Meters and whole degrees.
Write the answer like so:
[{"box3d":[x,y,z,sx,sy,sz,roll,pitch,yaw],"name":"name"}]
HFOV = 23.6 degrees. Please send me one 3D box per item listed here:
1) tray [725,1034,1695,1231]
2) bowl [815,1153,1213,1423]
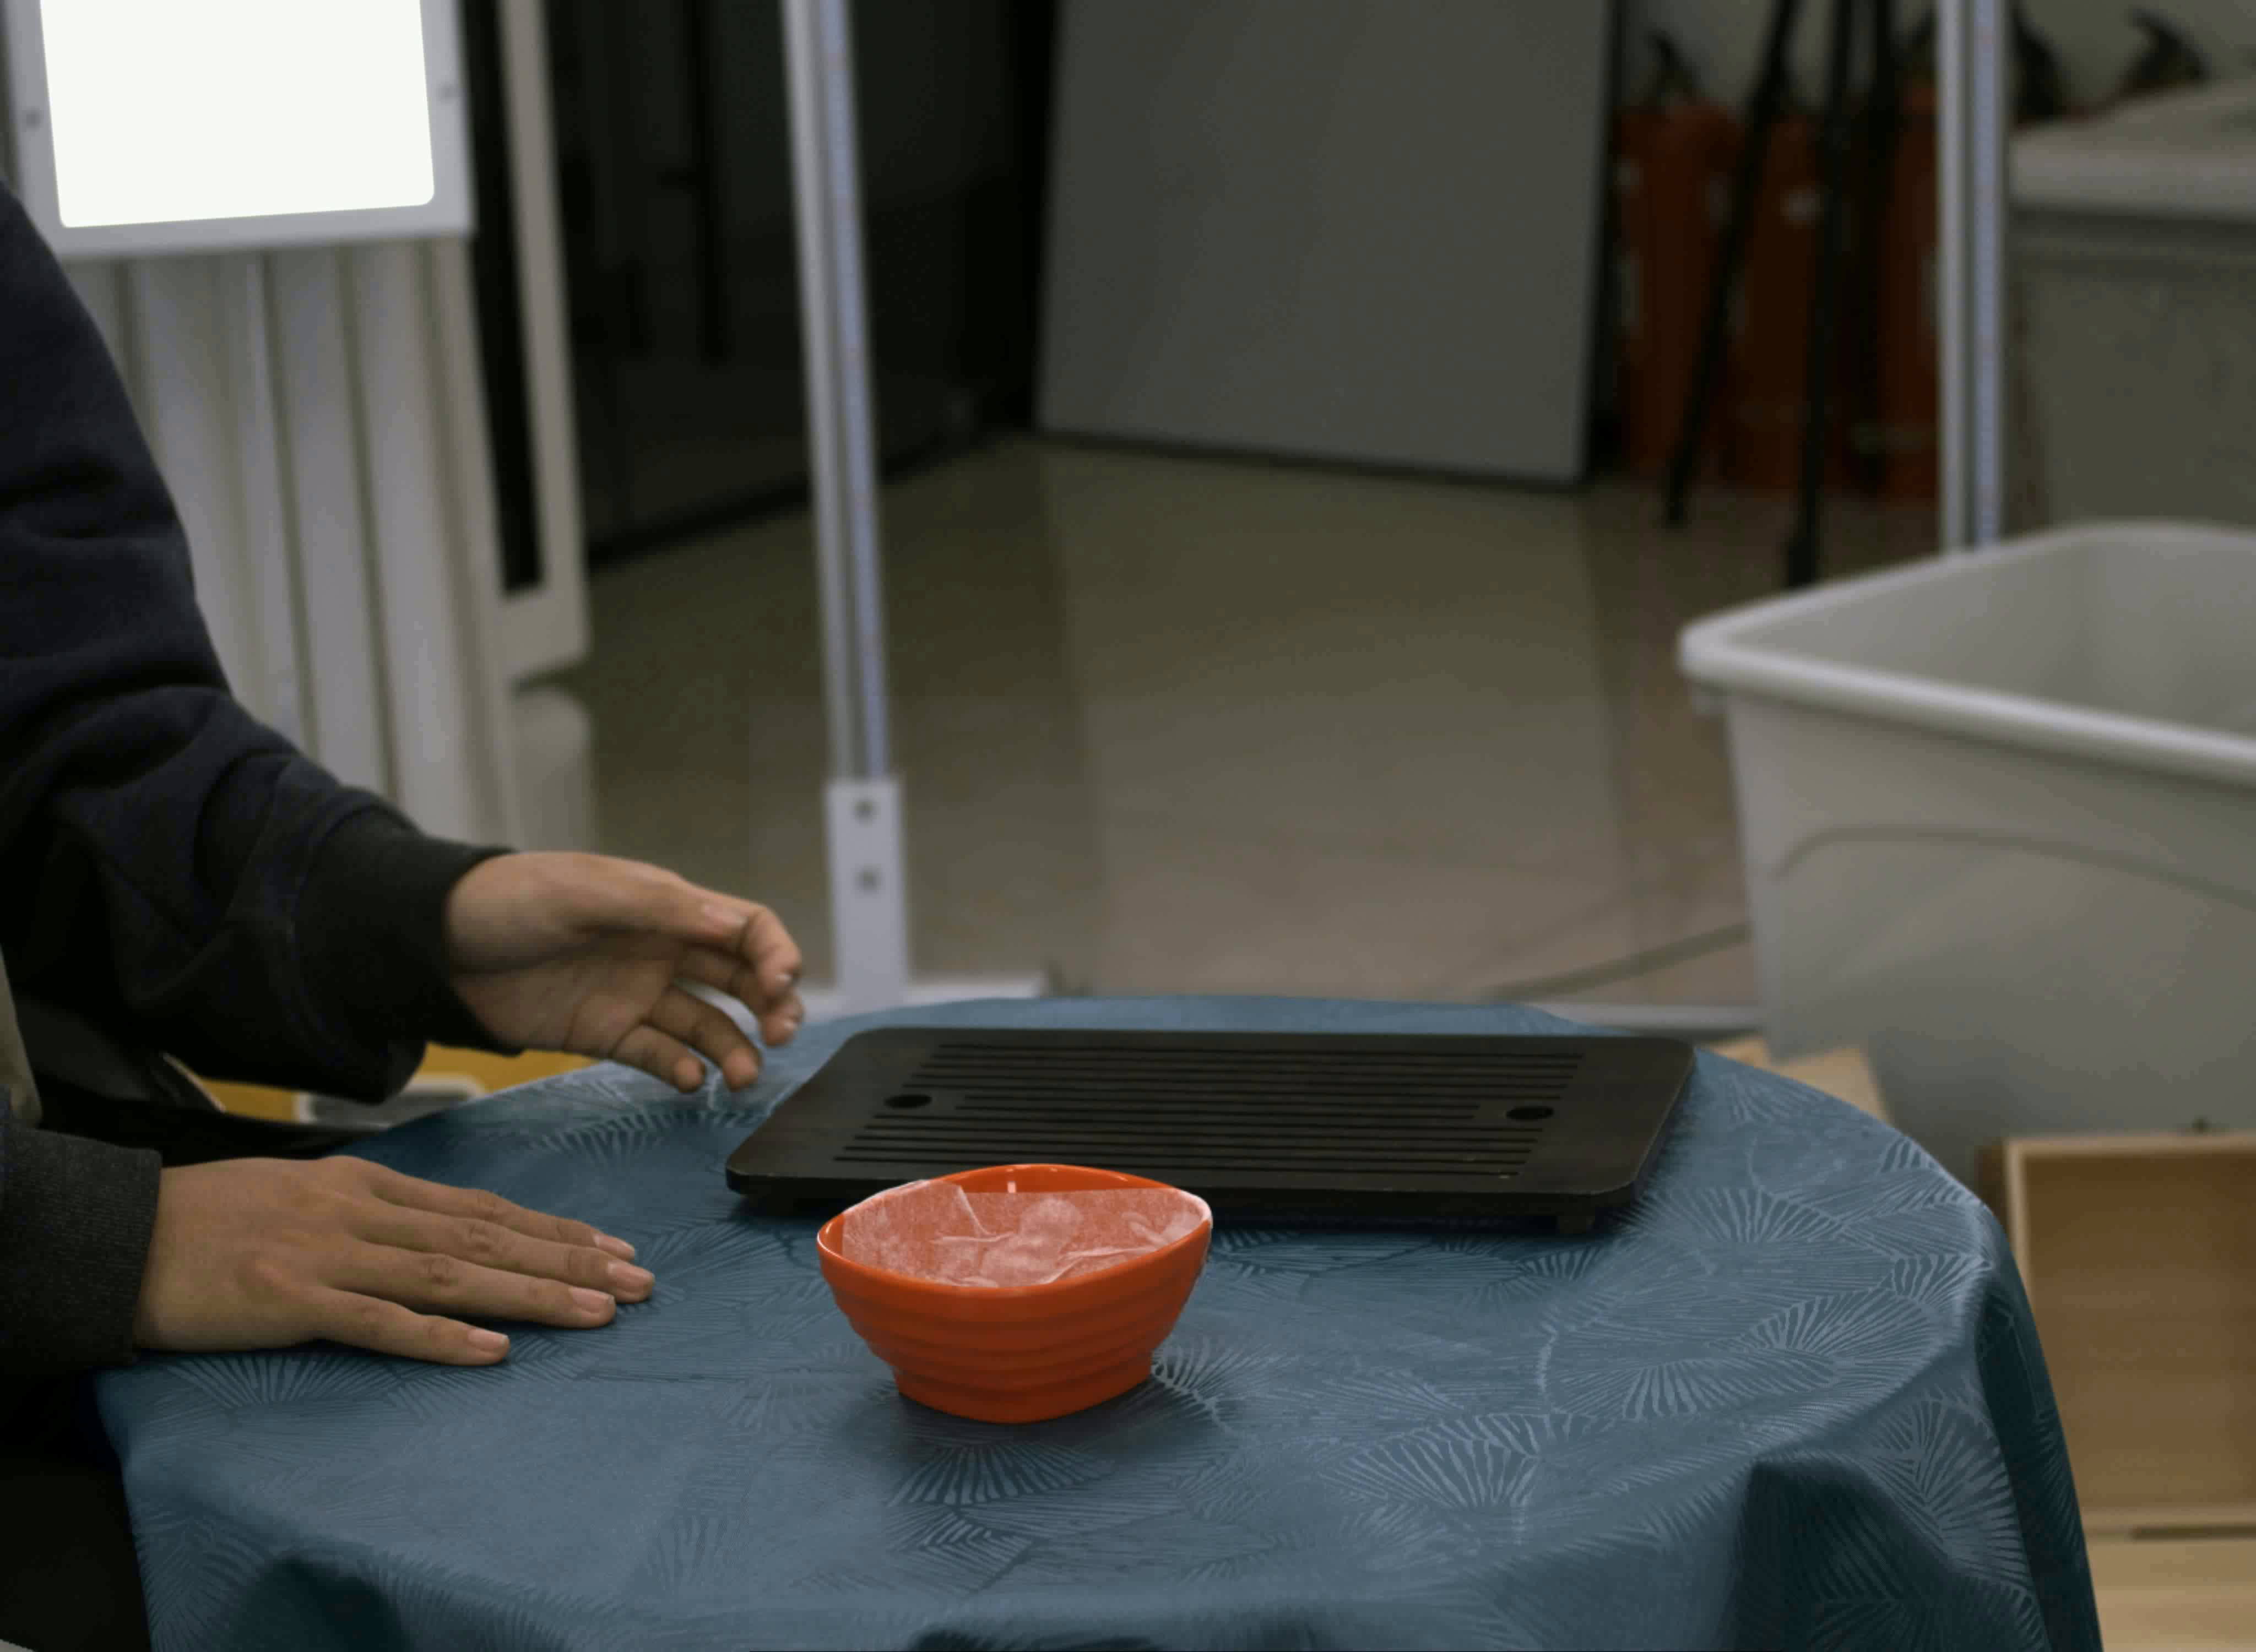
[{"box3d":[0.031,0.102,1.803,0.305,0.019,0.169,-1,14,16],"name":"tray"},{"box3d":[-0.032,0.138,1.592,0.117,0.052,0.119,-4,15,0],"name":"bowl"}]
